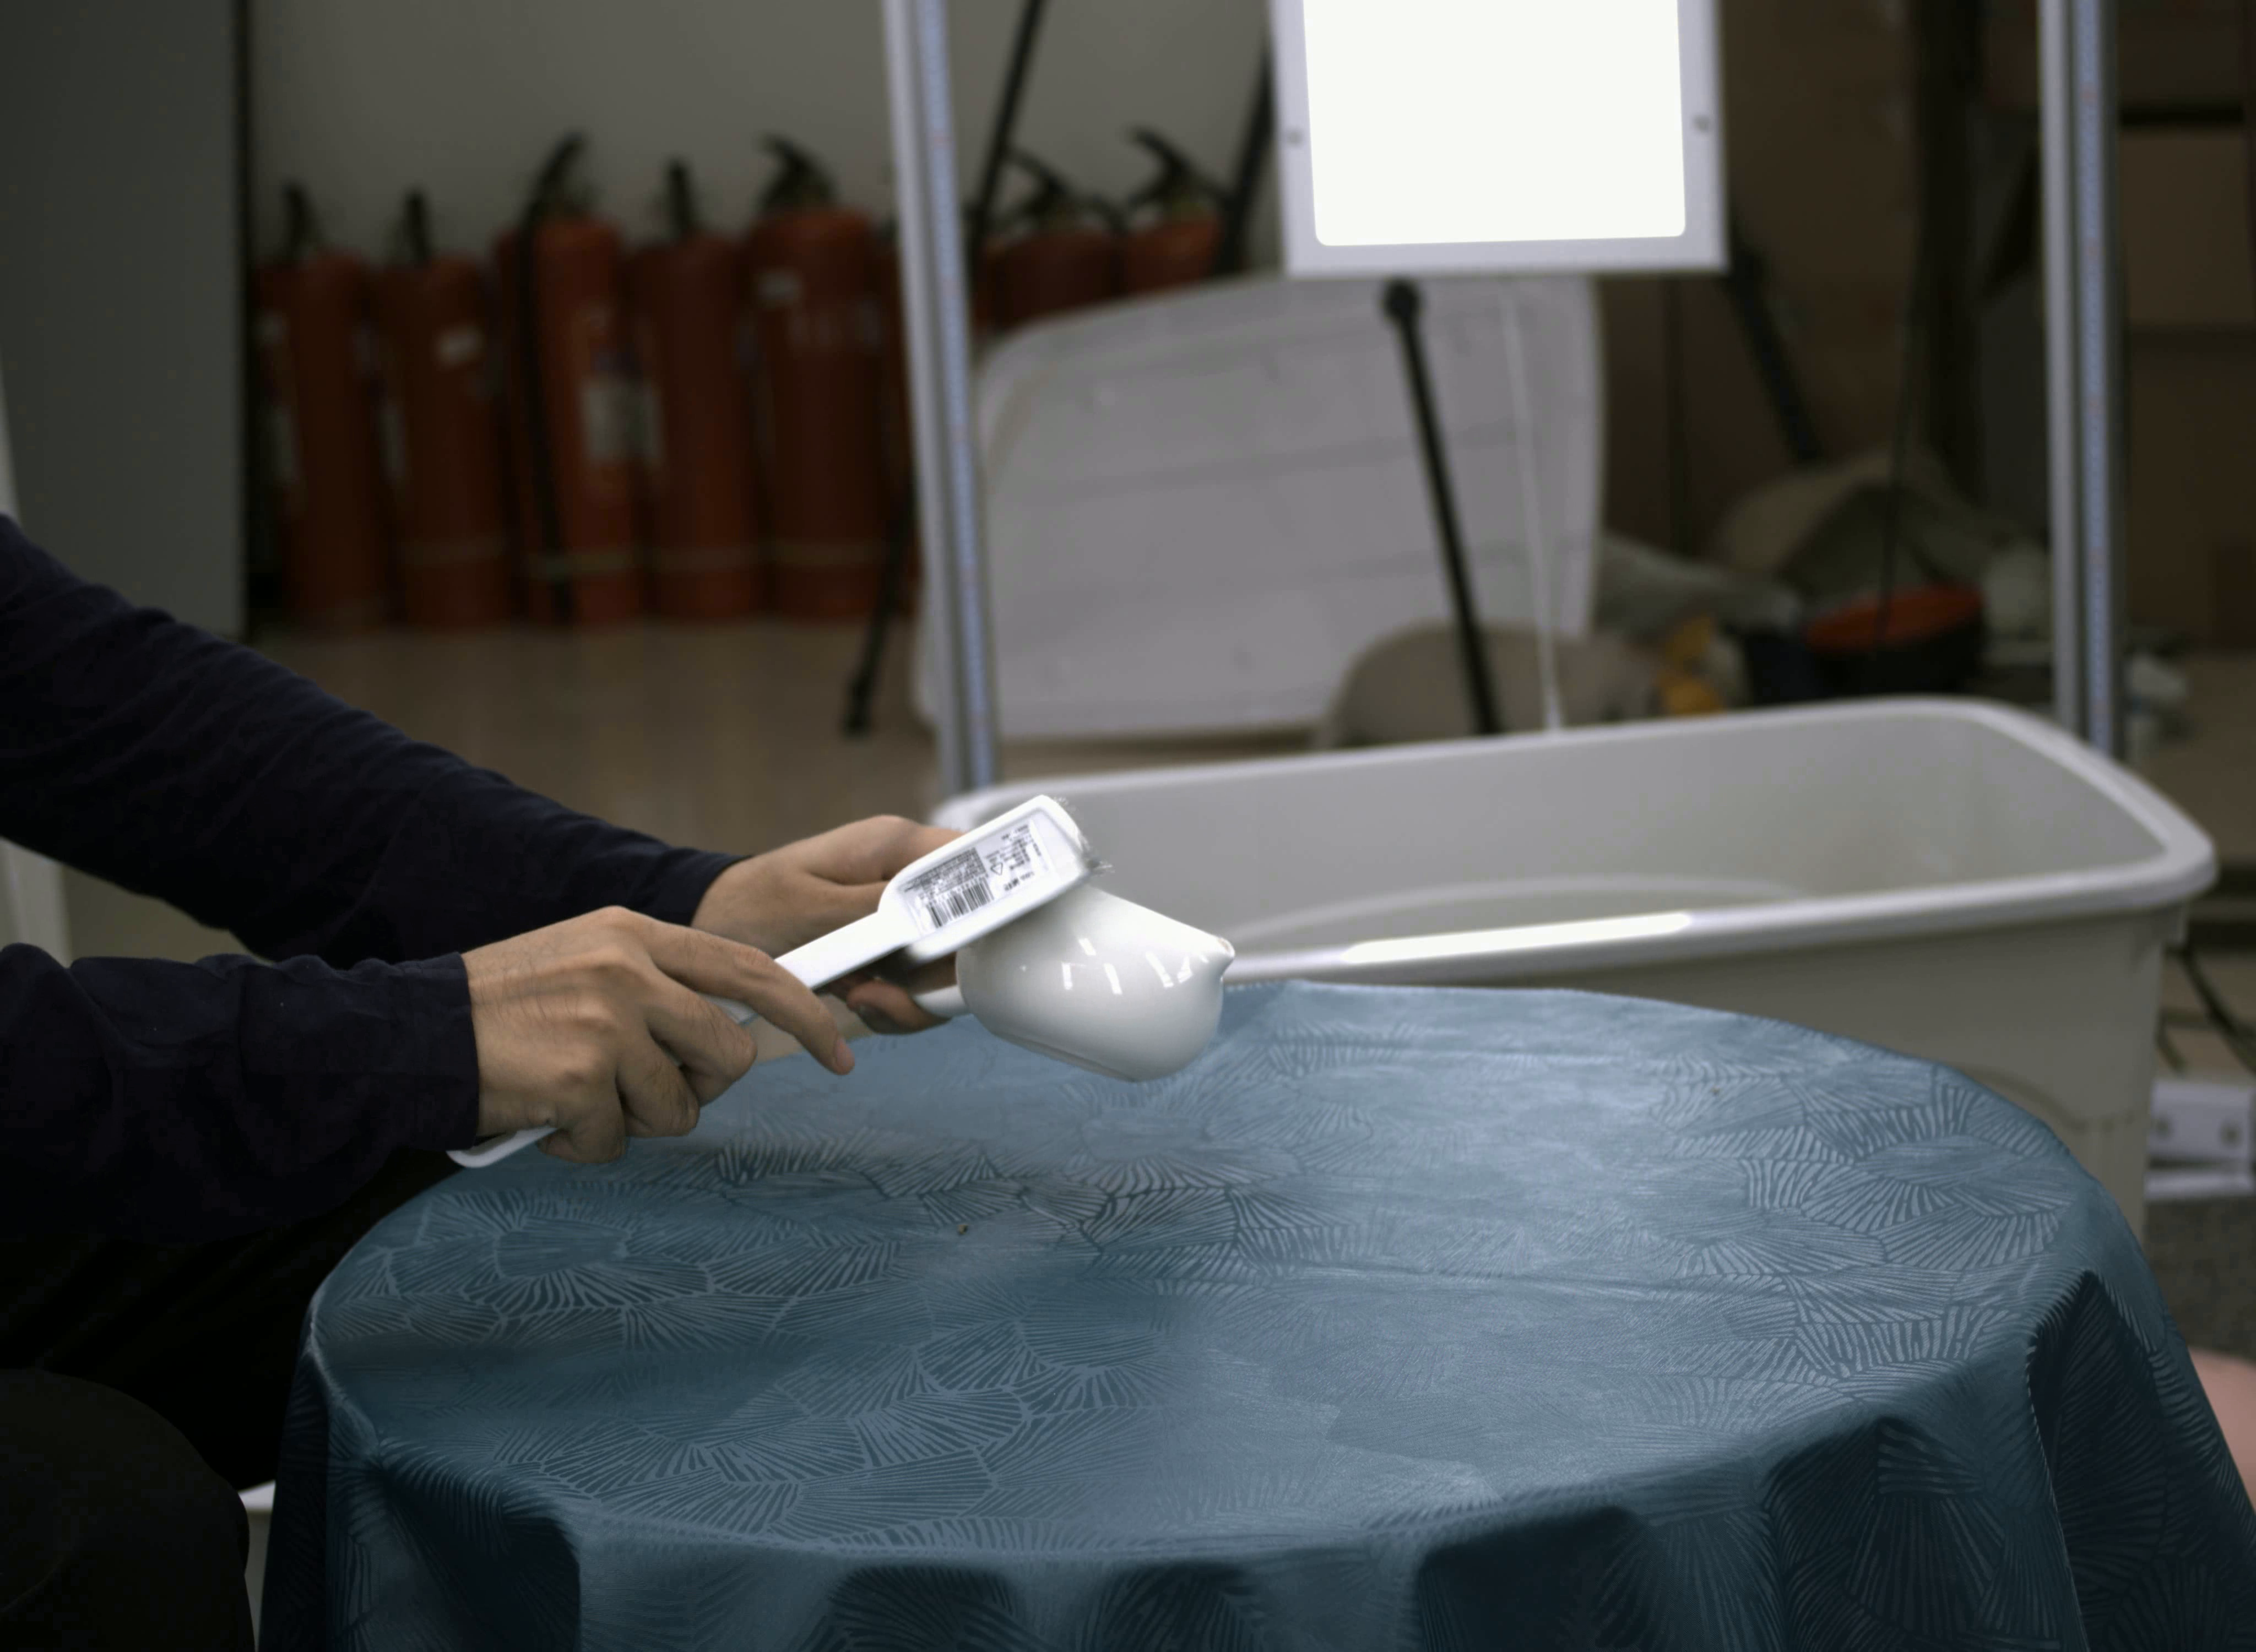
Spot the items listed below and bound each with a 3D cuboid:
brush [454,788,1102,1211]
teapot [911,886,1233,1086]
[{"bbox_3d":[-0.116,0.058,1.827,0.242,0.034,0.050,-31,4,-6],"label":"brush"},{"bbox_3d":[-0.022,0.053,1.887,0.129,0.057,0.091,14,-3,32],"label":"teapot"}]
